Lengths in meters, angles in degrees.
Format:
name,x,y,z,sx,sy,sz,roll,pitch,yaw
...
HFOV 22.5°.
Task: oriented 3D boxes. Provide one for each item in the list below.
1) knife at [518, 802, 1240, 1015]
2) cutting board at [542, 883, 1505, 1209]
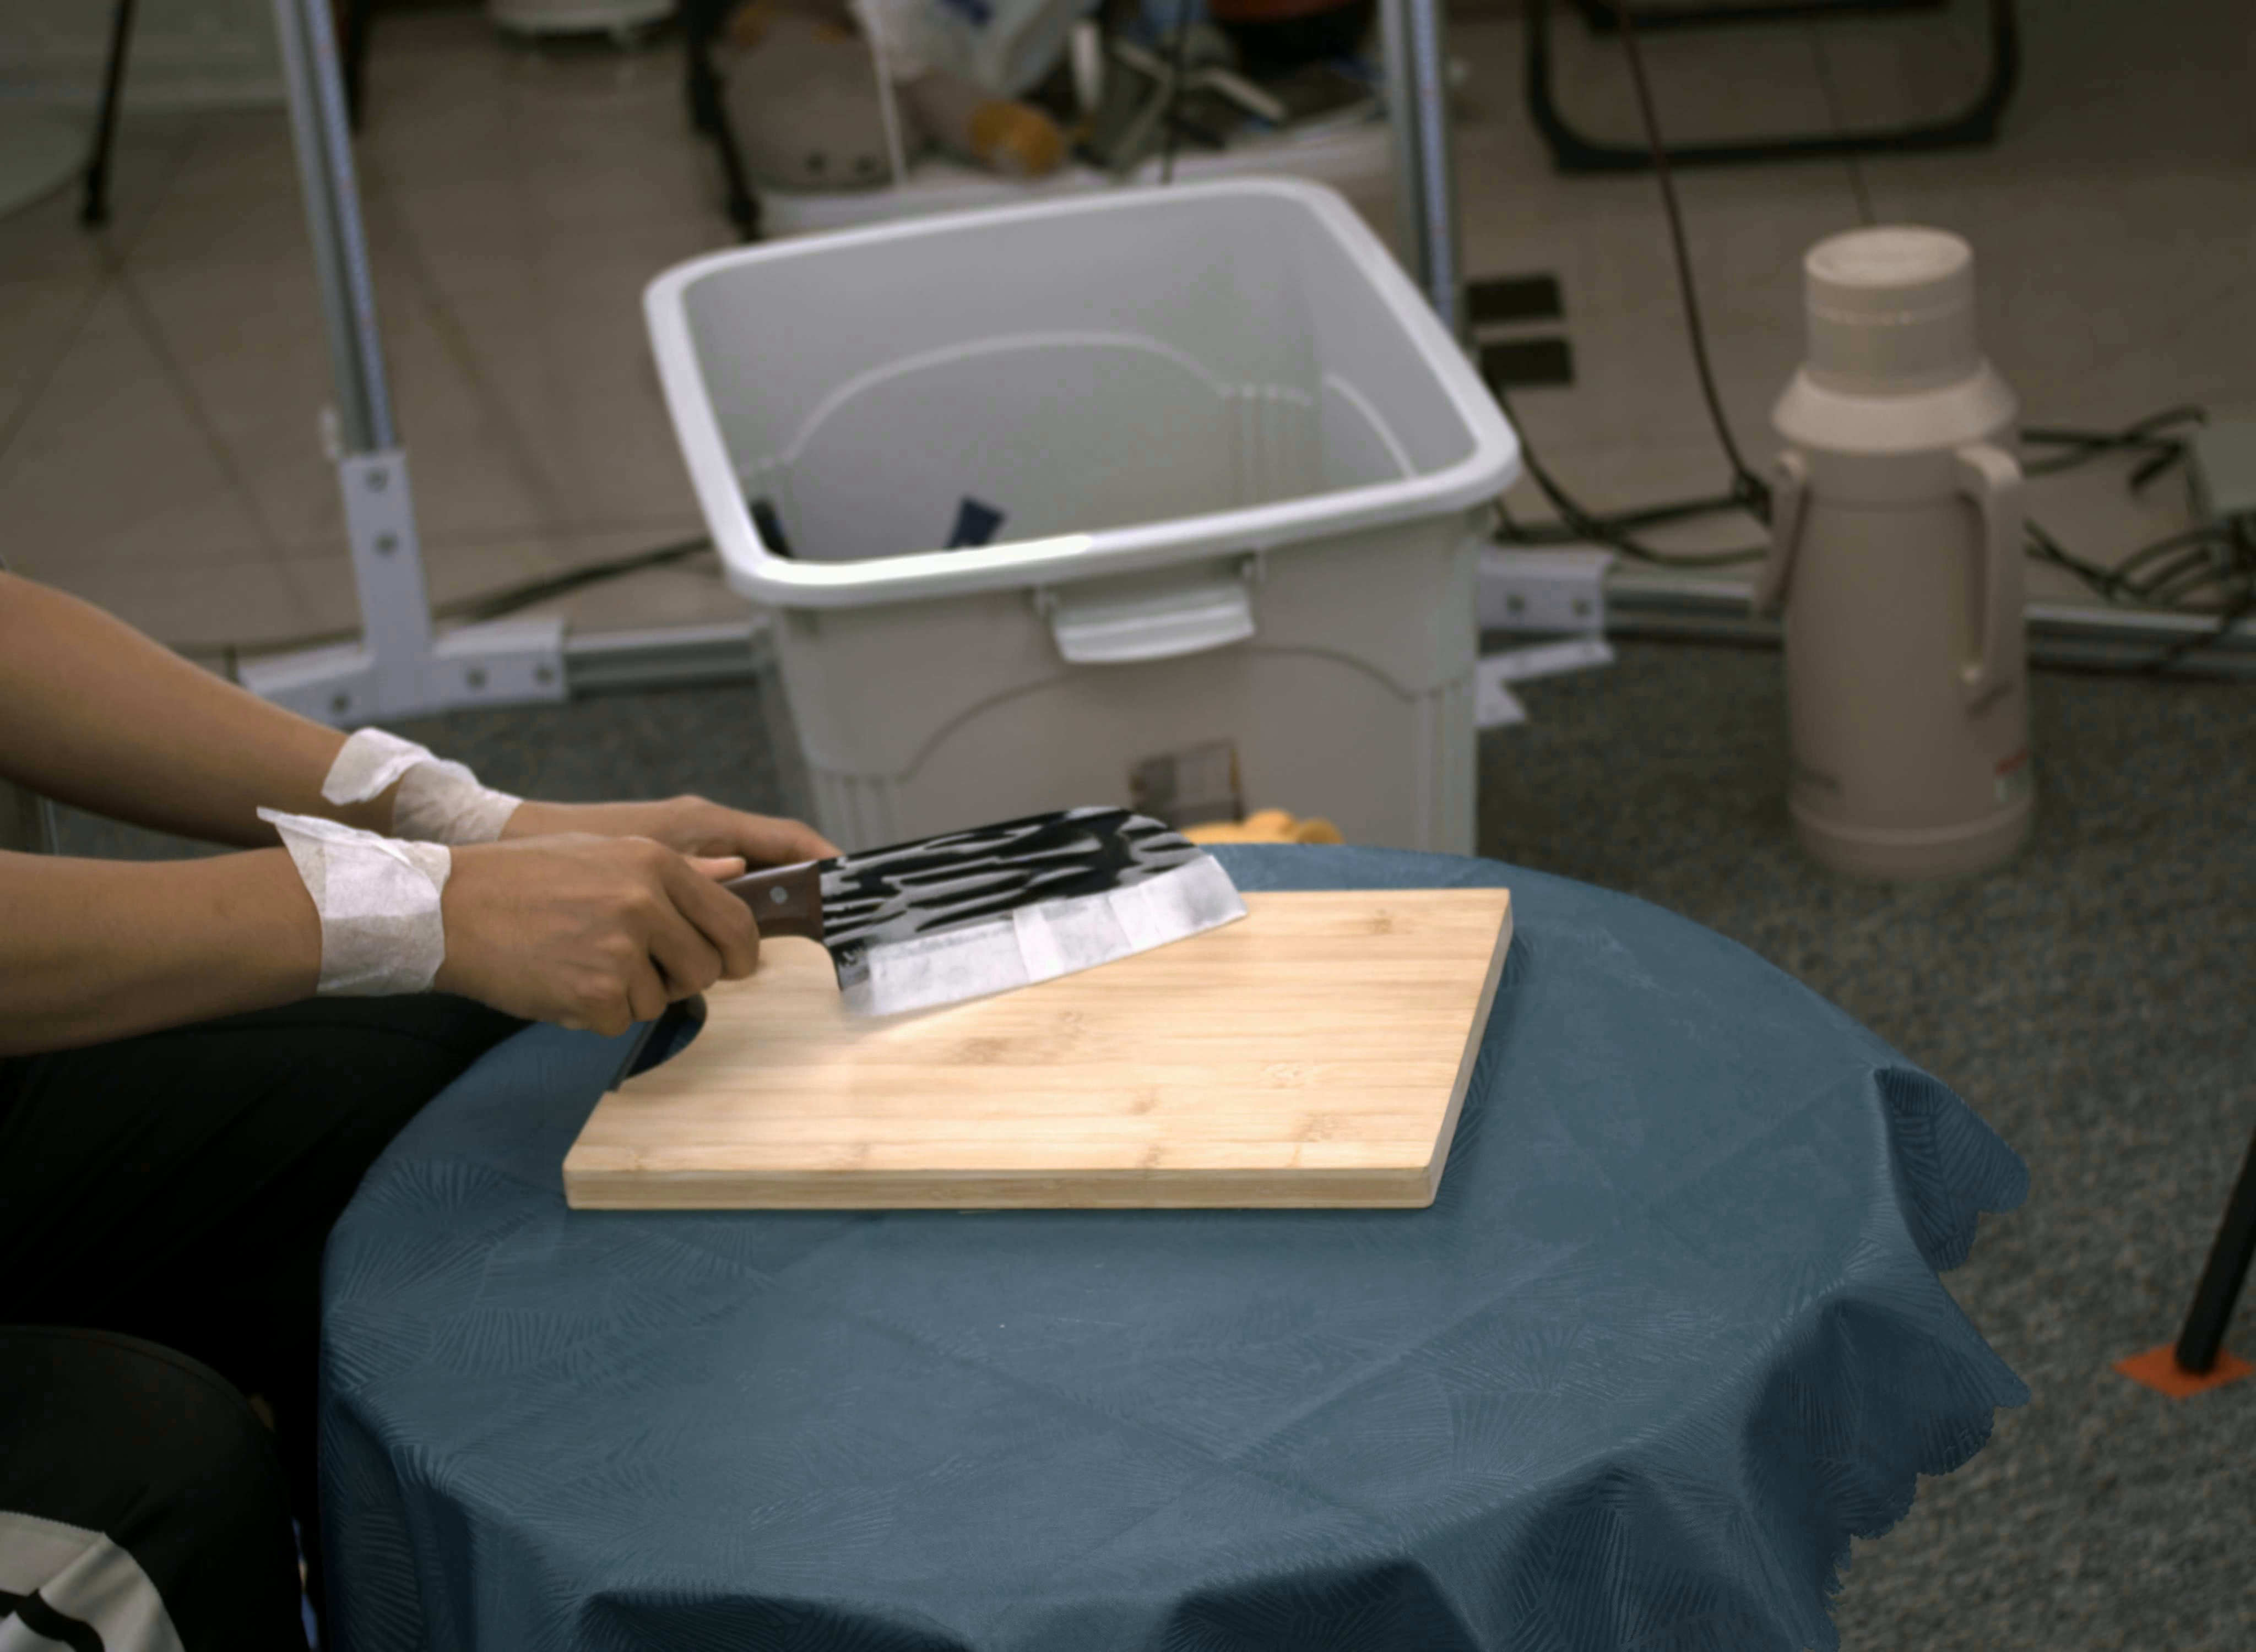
name,x,y,z,sx,sy,sz,roll,pitch,yaw
knife,-0.096,0.038,2.265,0.298,0.068,0.024,-11,-7,-21
cutting board,-0.036,0.086,2.253,0.348,0.024,0.247,-1,25,12
